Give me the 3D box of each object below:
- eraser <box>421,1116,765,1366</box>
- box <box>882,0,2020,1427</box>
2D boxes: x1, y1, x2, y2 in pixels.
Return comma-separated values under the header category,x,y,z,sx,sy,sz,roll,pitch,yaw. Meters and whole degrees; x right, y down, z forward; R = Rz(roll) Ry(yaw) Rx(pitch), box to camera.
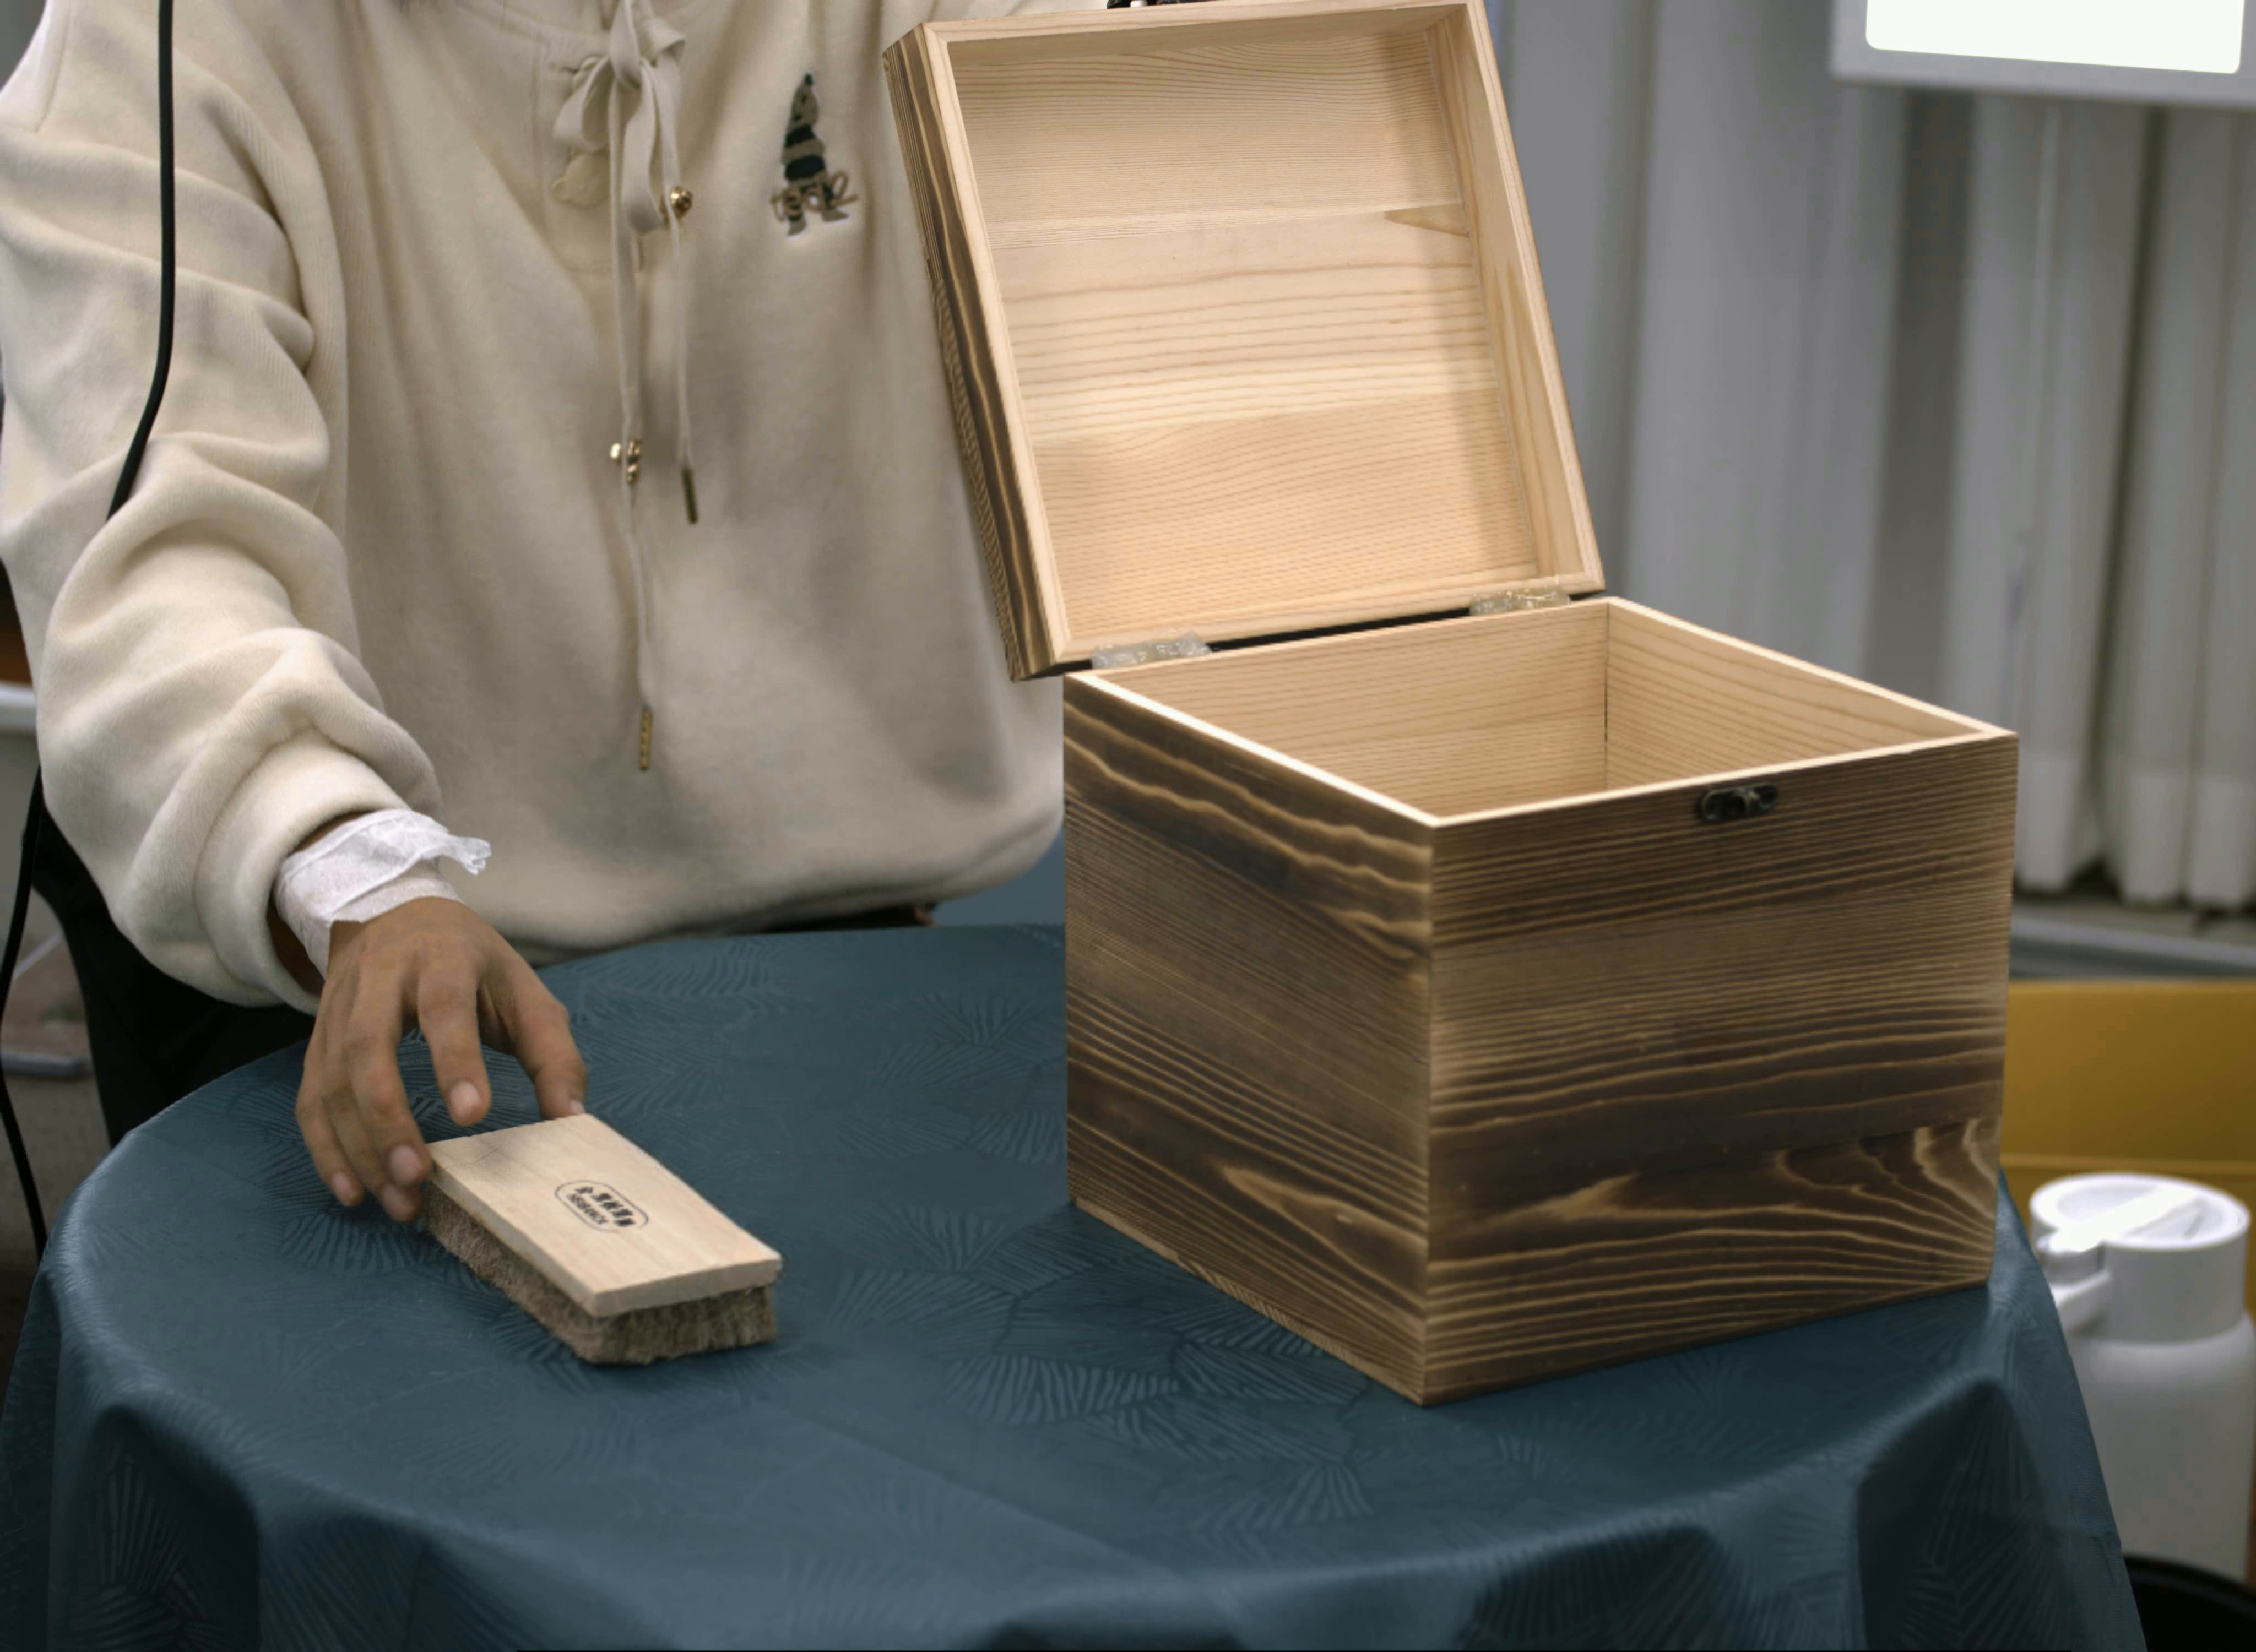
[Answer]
category,x,y,z,sx,sy,sz,roll,pitch,yaw
eraser,-0.156,0.121,1.531,0.057,0.029,0.137,-10,18,-25
box,0.089,-0.061,1.568,0.209,0.378,0.318,-10,19,-30
